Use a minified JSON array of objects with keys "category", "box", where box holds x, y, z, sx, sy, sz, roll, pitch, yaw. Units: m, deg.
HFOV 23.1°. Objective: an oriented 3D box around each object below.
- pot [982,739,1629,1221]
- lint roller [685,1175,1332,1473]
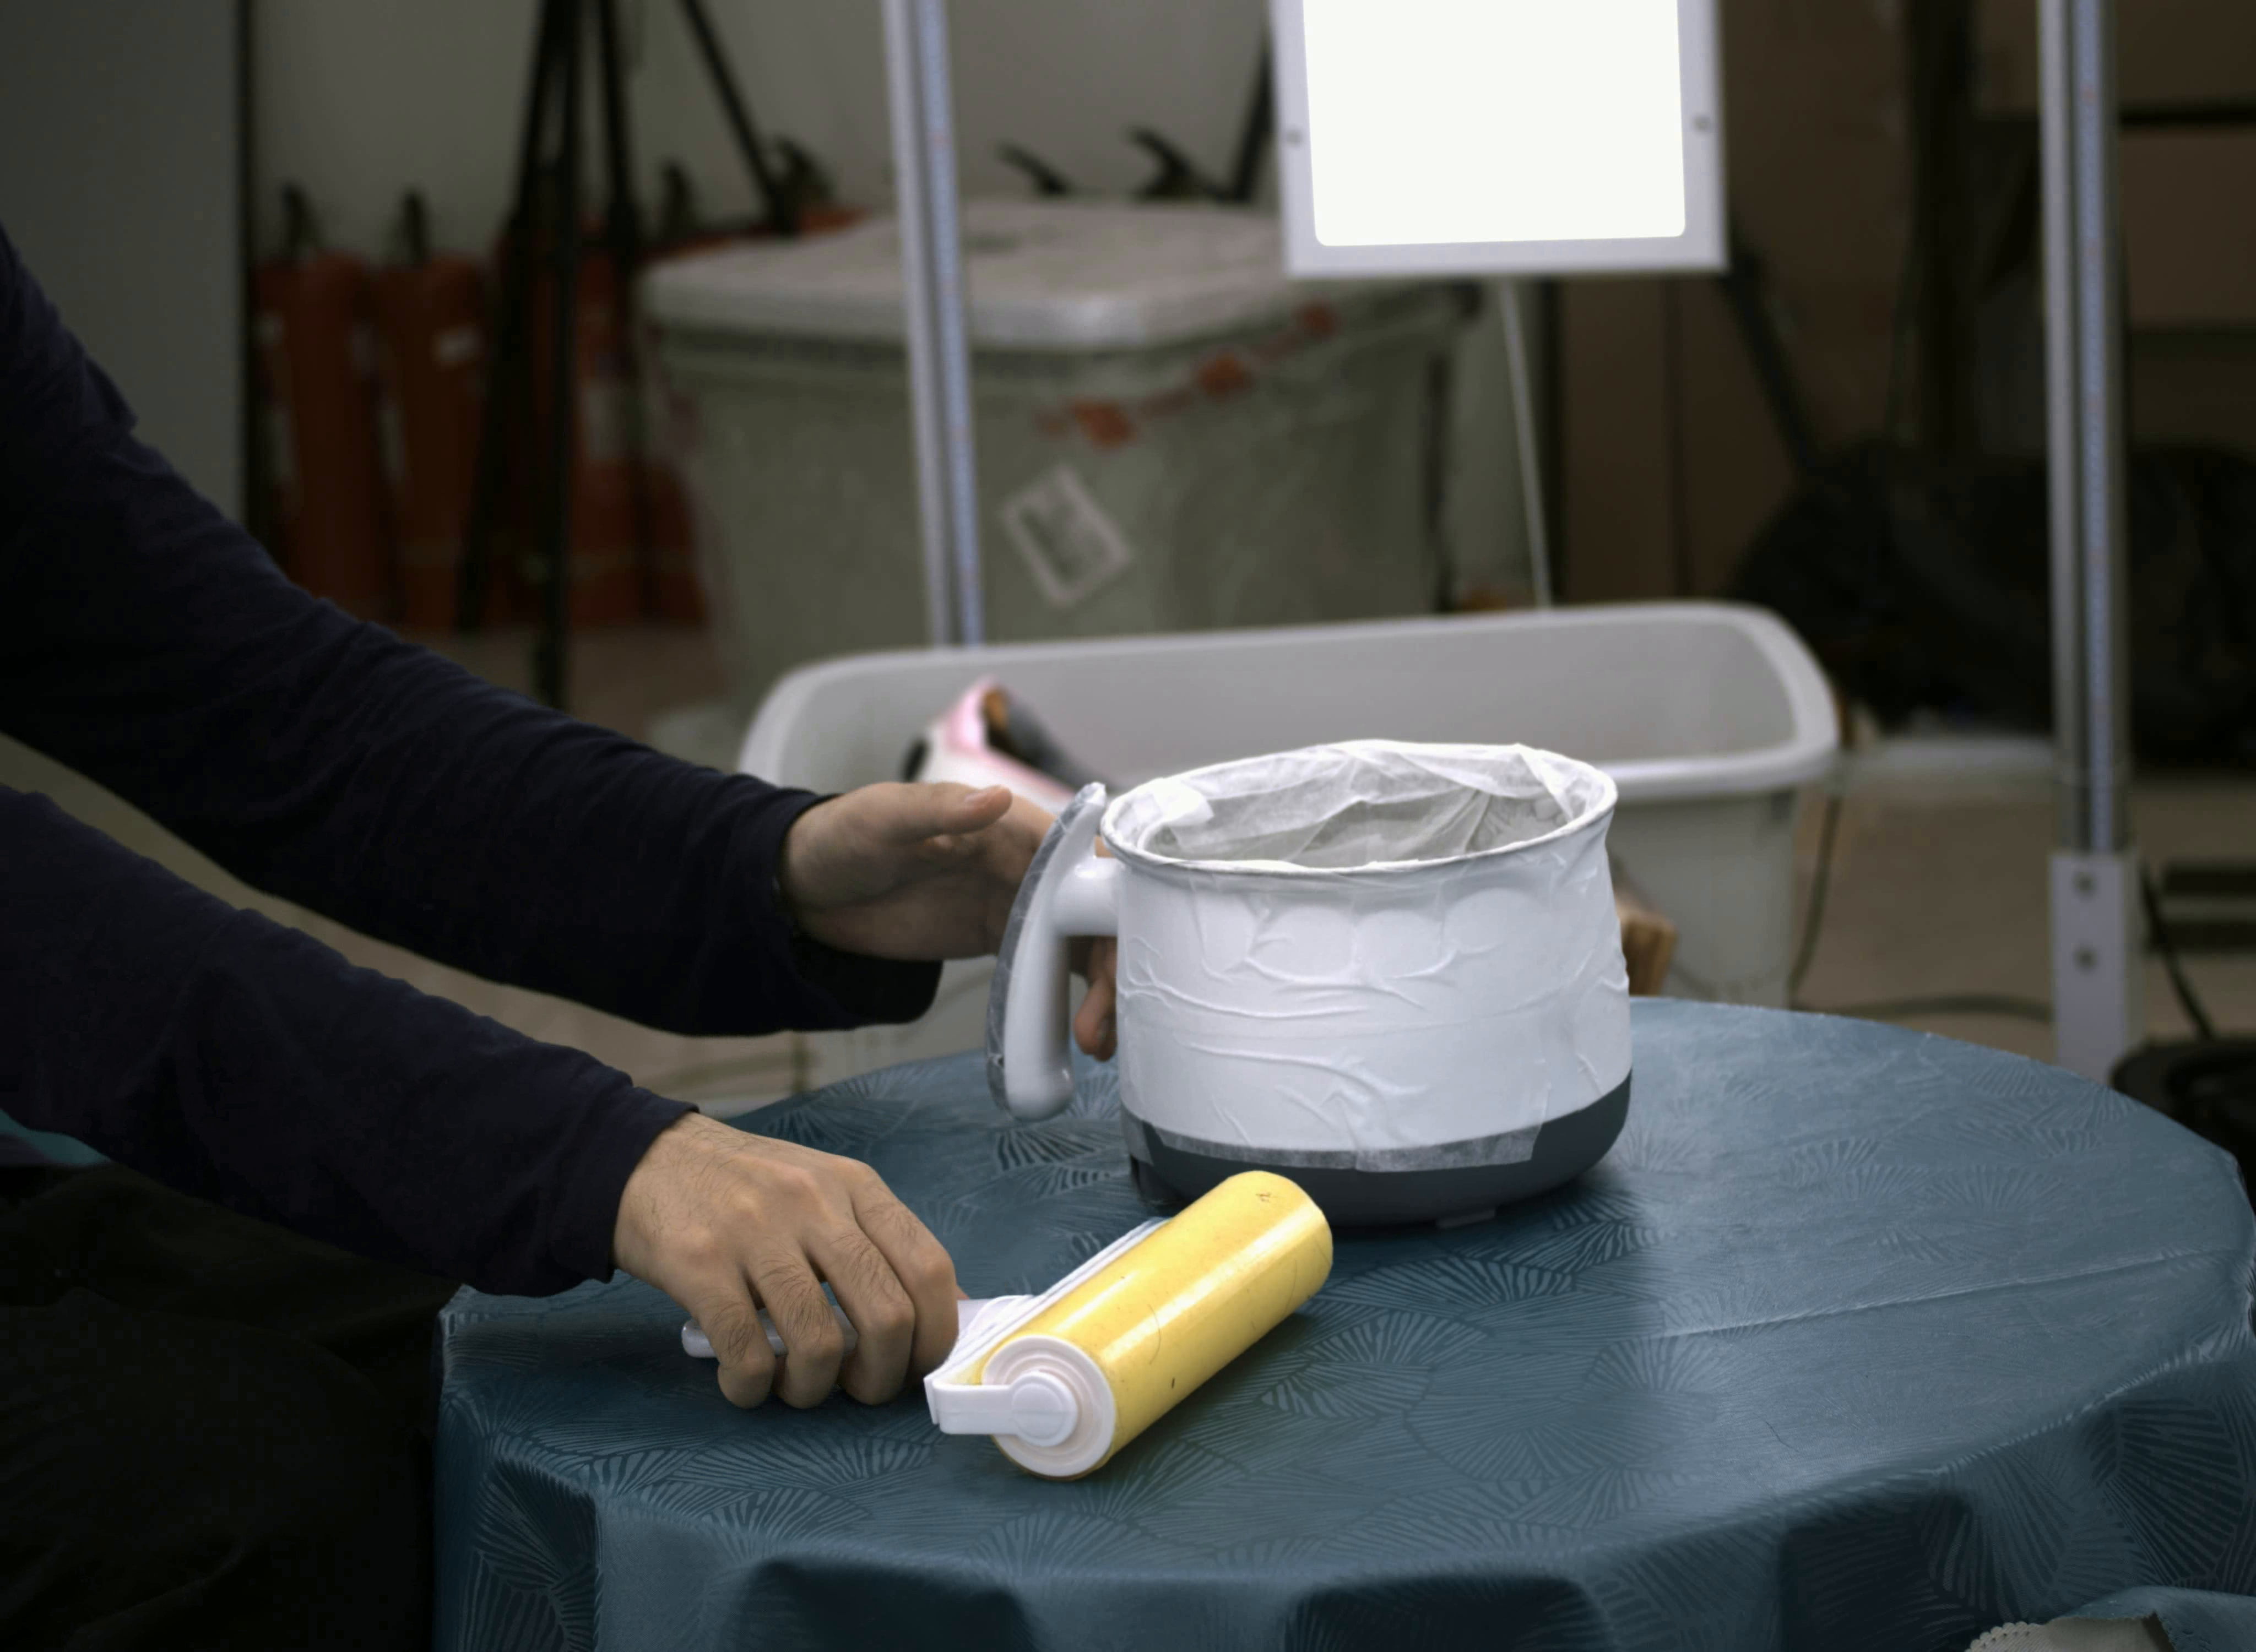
[{"category":"pot","box":[0.058,0.050,1.892,0.237,0.137,0.175,3,14,23]},{"category":"lint roller","box":[-0.054,0.150,1.725,0.195,0.051,0.170,3,15,26]}]
